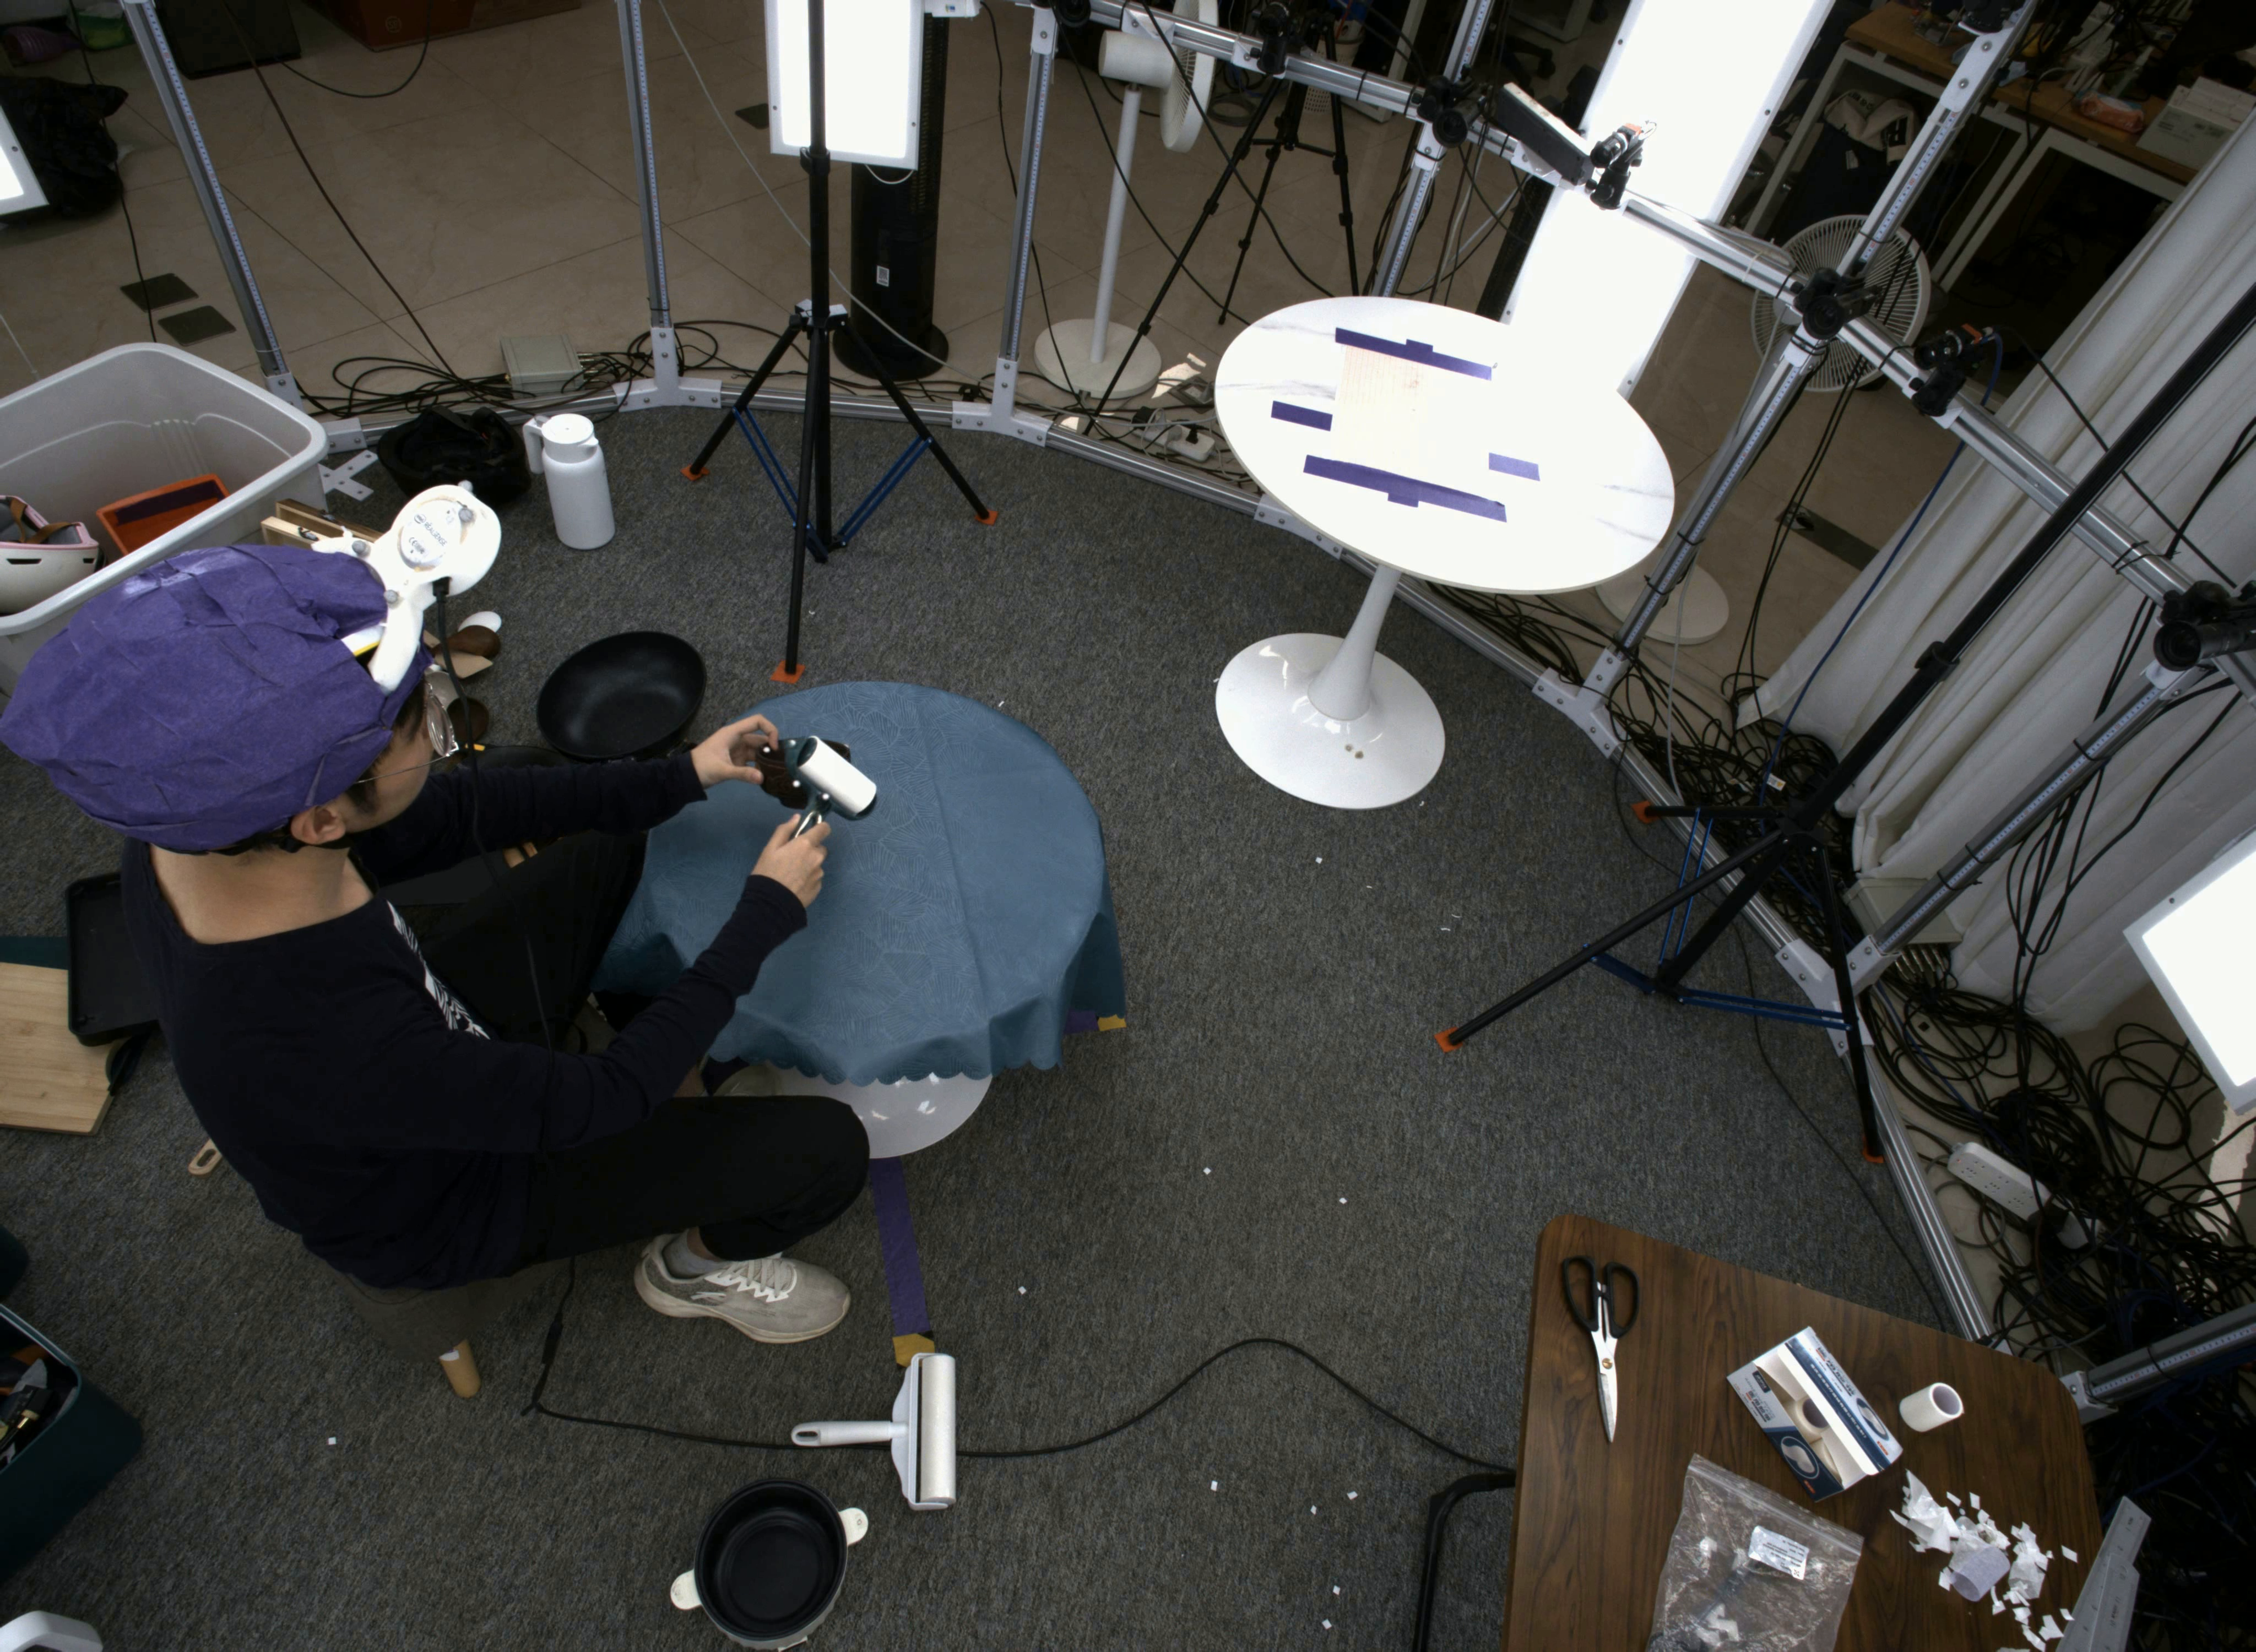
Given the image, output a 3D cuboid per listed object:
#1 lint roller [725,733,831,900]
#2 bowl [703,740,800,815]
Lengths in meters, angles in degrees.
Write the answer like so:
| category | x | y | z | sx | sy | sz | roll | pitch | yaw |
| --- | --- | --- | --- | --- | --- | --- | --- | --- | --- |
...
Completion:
| category | x | y | z | sx | sy | sz | roll | pitch | yaw |
| --- | --- | --- | --- | --- | --- | --- | --- | --- | --- |
| lint roller | -0.423 | 0.000 | 1.512 | 0.047 | 0.139 | 0.178 | -8 | 56 | 34 |
| bowl | -0.466 | -0.058 | 1.607 | 0.117 | 0.072 | 0.116 | 2 | 23 | 0 |
